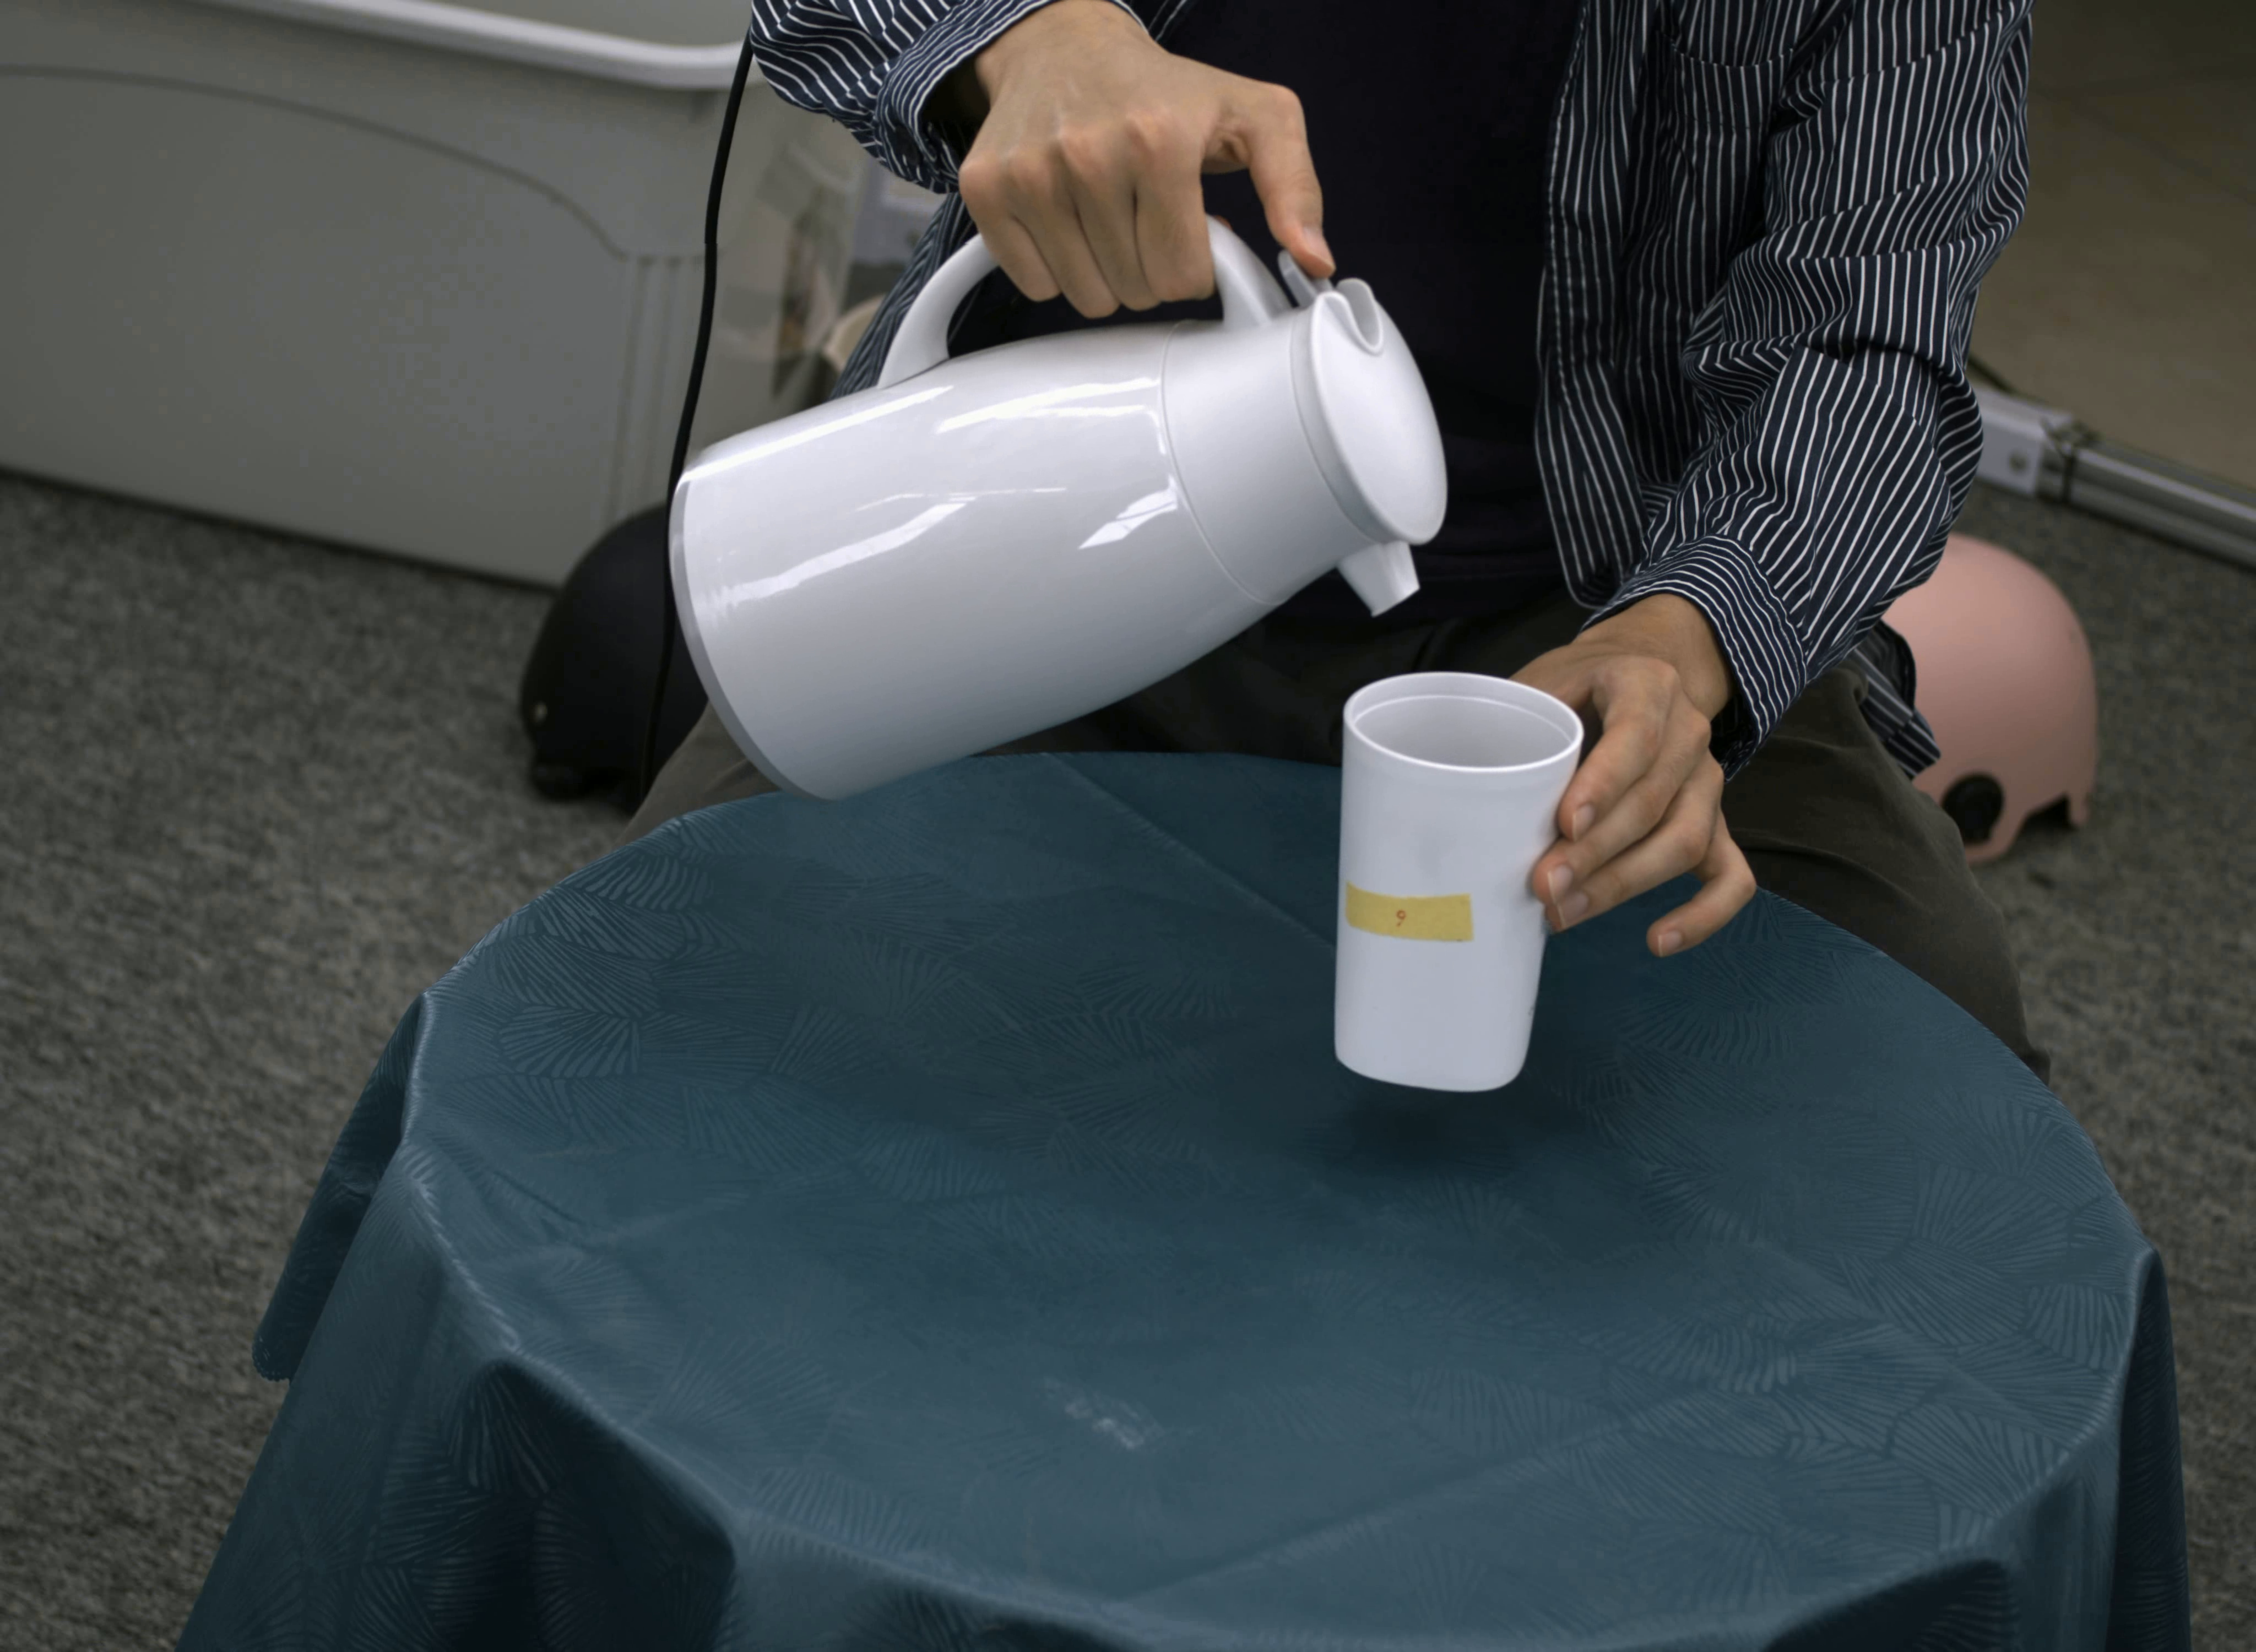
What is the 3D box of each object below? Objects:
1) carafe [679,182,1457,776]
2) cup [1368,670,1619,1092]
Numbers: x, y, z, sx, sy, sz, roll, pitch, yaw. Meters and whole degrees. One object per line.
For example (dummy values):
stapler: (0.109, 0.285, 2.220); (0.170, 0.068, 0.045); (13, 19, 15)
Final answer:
carafe: (-0.021, -0.125, 1.794); (0.249, 0.167, 0.132); (-15, 14, 26)
cup: (0.120, 0.020, 1.807); (0.081, 0.125, 0.082); (3, 24, -2)
